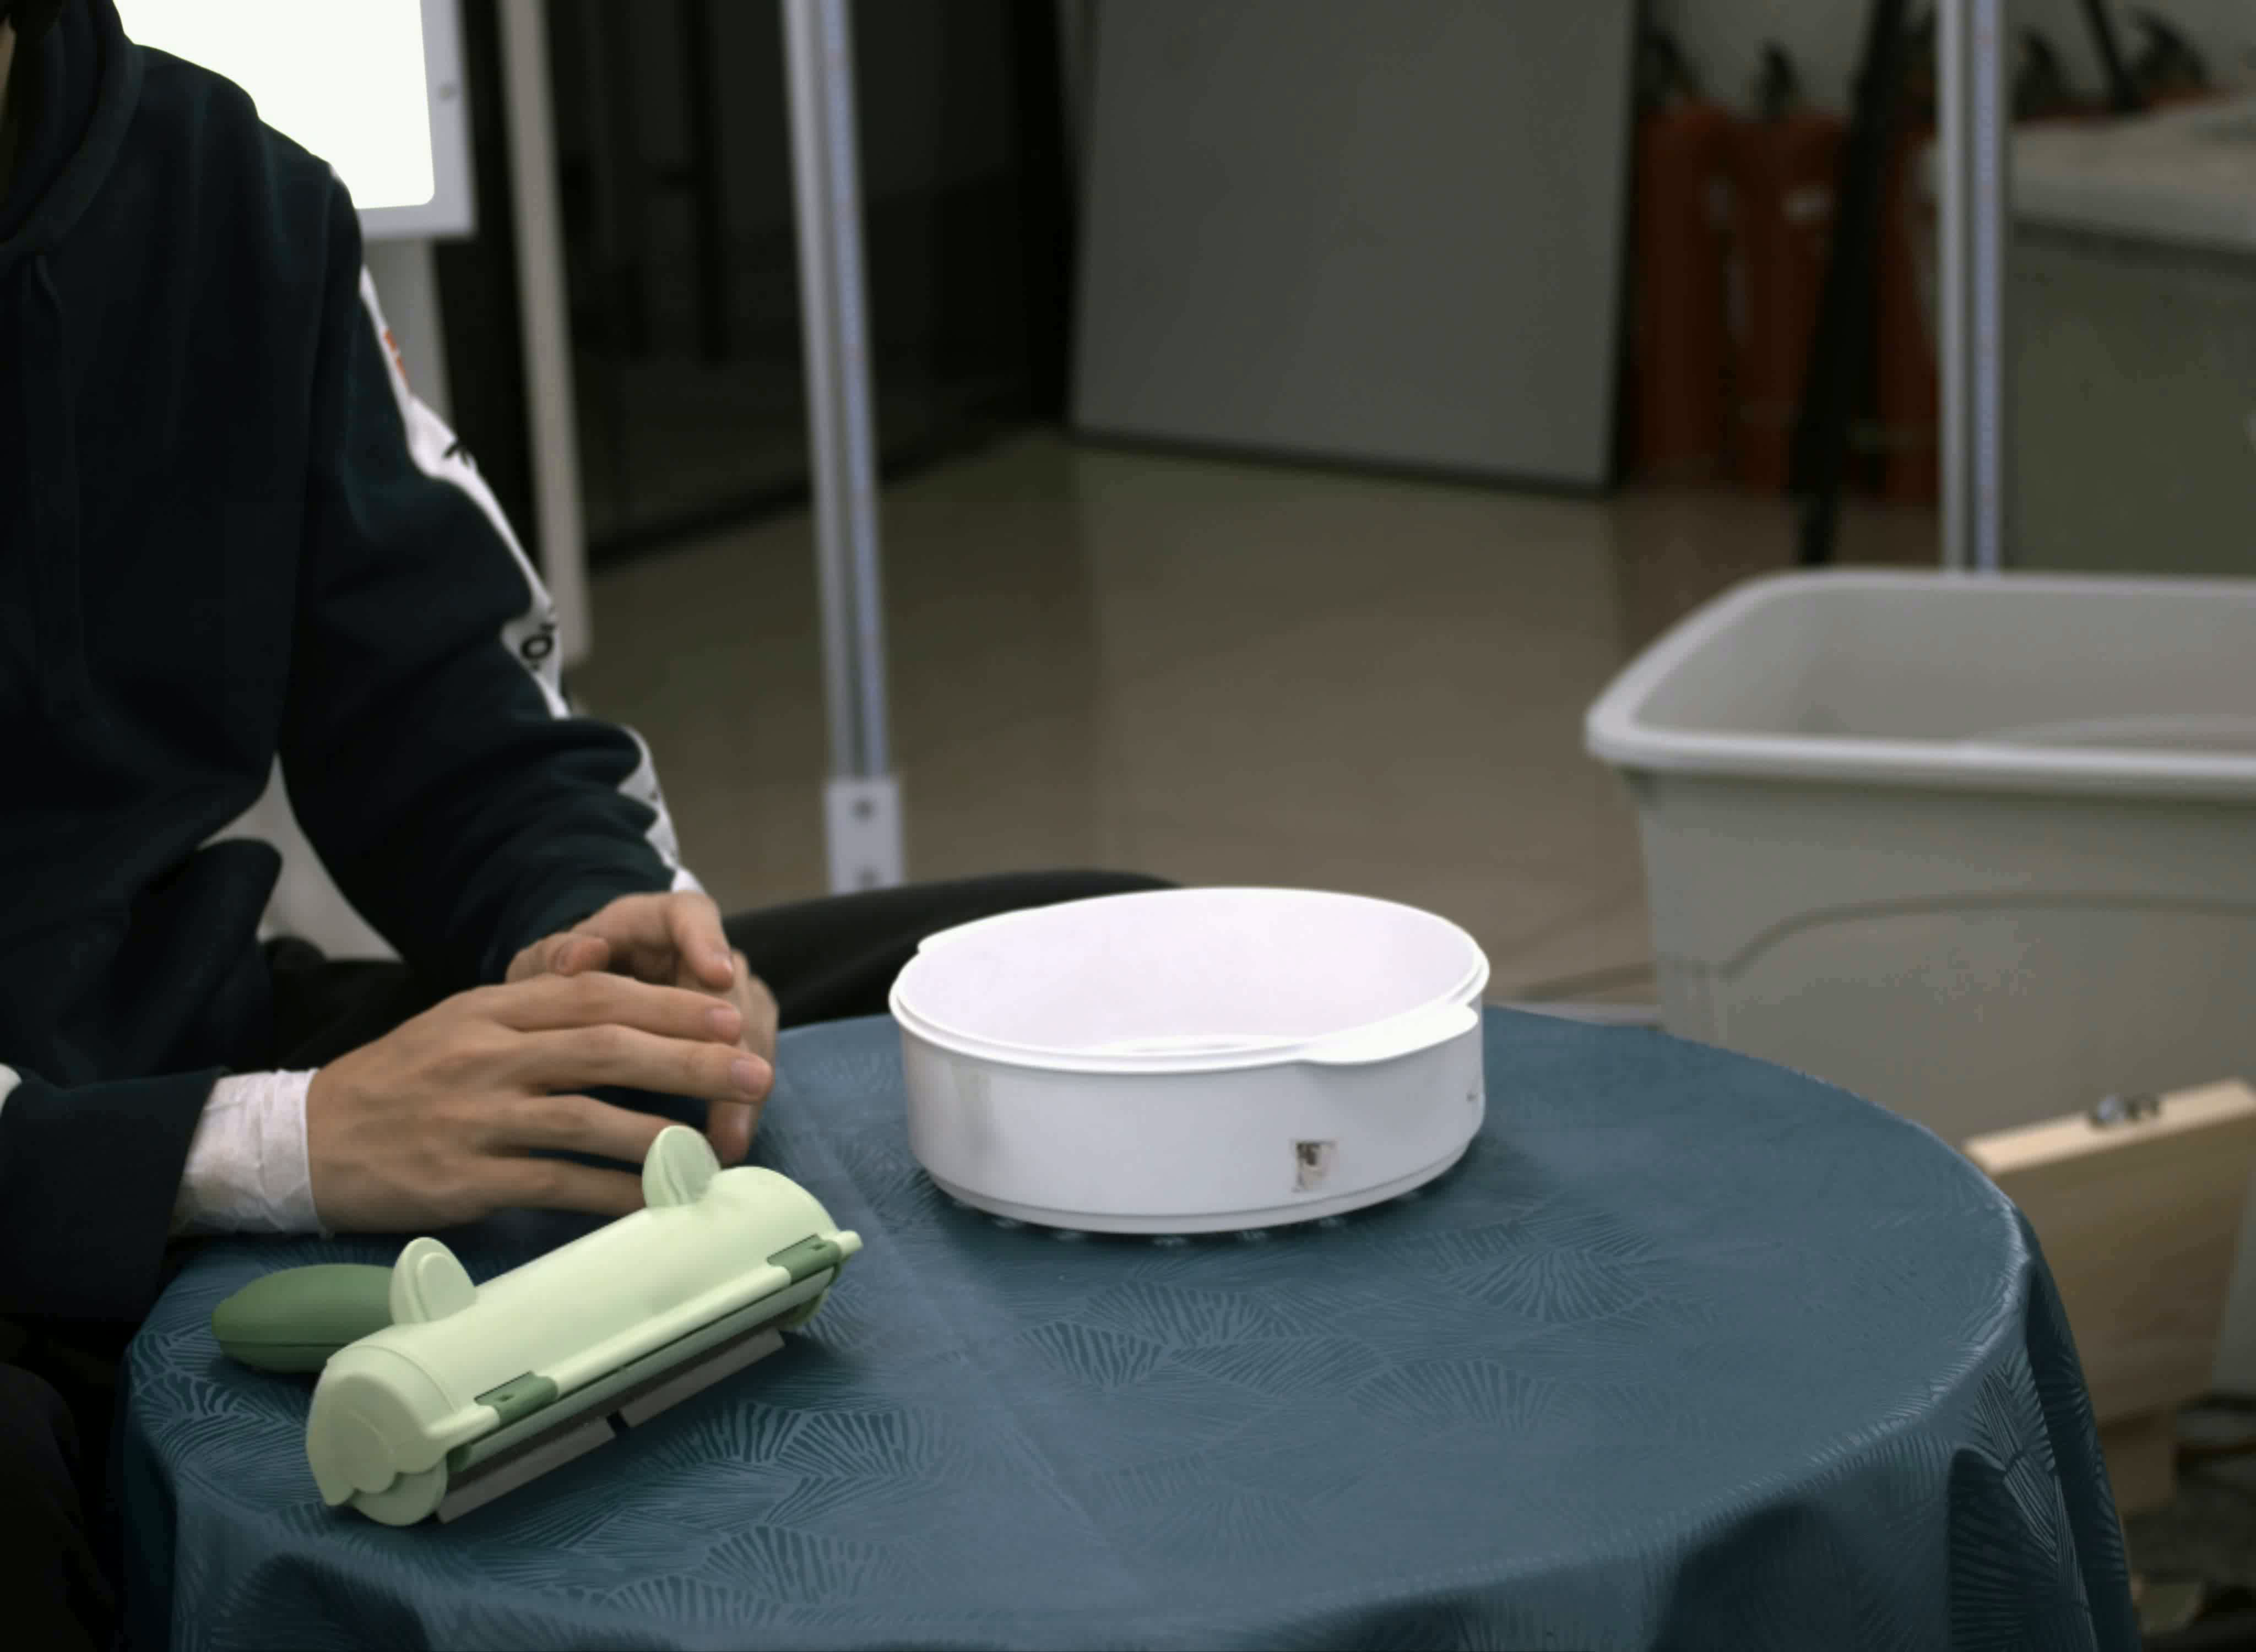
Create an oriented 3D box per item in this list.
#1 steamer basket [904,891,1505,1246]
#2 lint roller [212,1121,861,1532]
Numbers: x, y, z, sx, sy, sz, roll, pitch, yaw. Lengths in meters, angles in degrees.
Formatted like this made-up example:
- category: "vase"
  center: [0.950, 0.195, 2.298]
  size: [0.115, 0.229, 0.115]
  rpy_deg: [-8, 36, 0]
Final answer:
- category: "steamer basket"
  center: [0.027, 0.080, 1.788]
  size: [0.197, 0.070, 0.233]
  rpy_deg: [-16, 20, -39]
- category: "lint roller"
  center: [-0.205, 0.135, 1.613]
  size: [0.184, 0.083, 0.195]
  rpy_deg: [11, 20, 34]
